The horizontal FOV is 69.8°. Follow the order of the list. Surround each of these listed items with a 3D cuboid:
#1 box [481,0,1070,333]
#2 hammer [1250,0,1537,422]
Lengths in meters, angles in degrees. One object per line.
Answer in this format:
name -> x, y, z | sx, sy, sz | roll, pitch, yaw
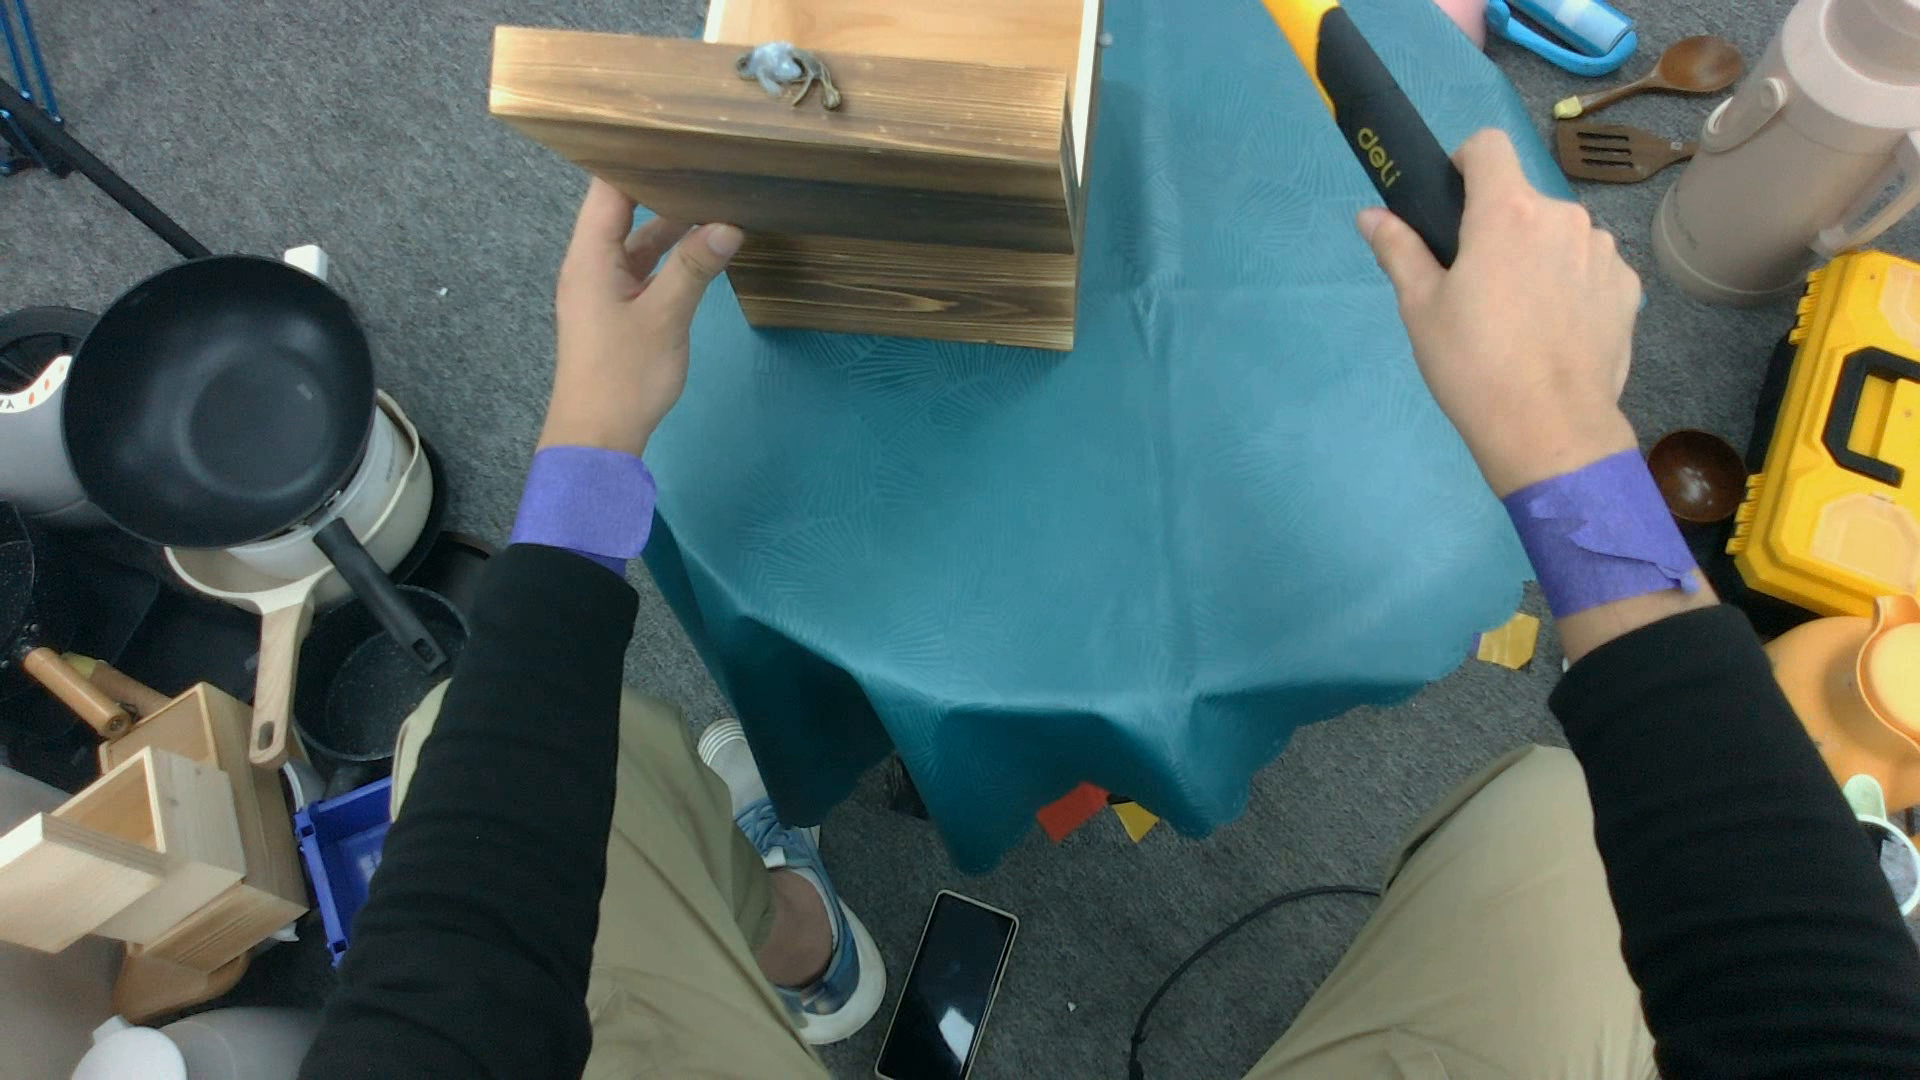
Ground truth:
box -> -0.049, -0.240, 0.682 | 0.208, 0.374, 0.323 | 5, 70, 4
hammer -> 0.165, -0.207, 0.621 | 0.032, 0.131, 0.339 | -19, 80, -29
